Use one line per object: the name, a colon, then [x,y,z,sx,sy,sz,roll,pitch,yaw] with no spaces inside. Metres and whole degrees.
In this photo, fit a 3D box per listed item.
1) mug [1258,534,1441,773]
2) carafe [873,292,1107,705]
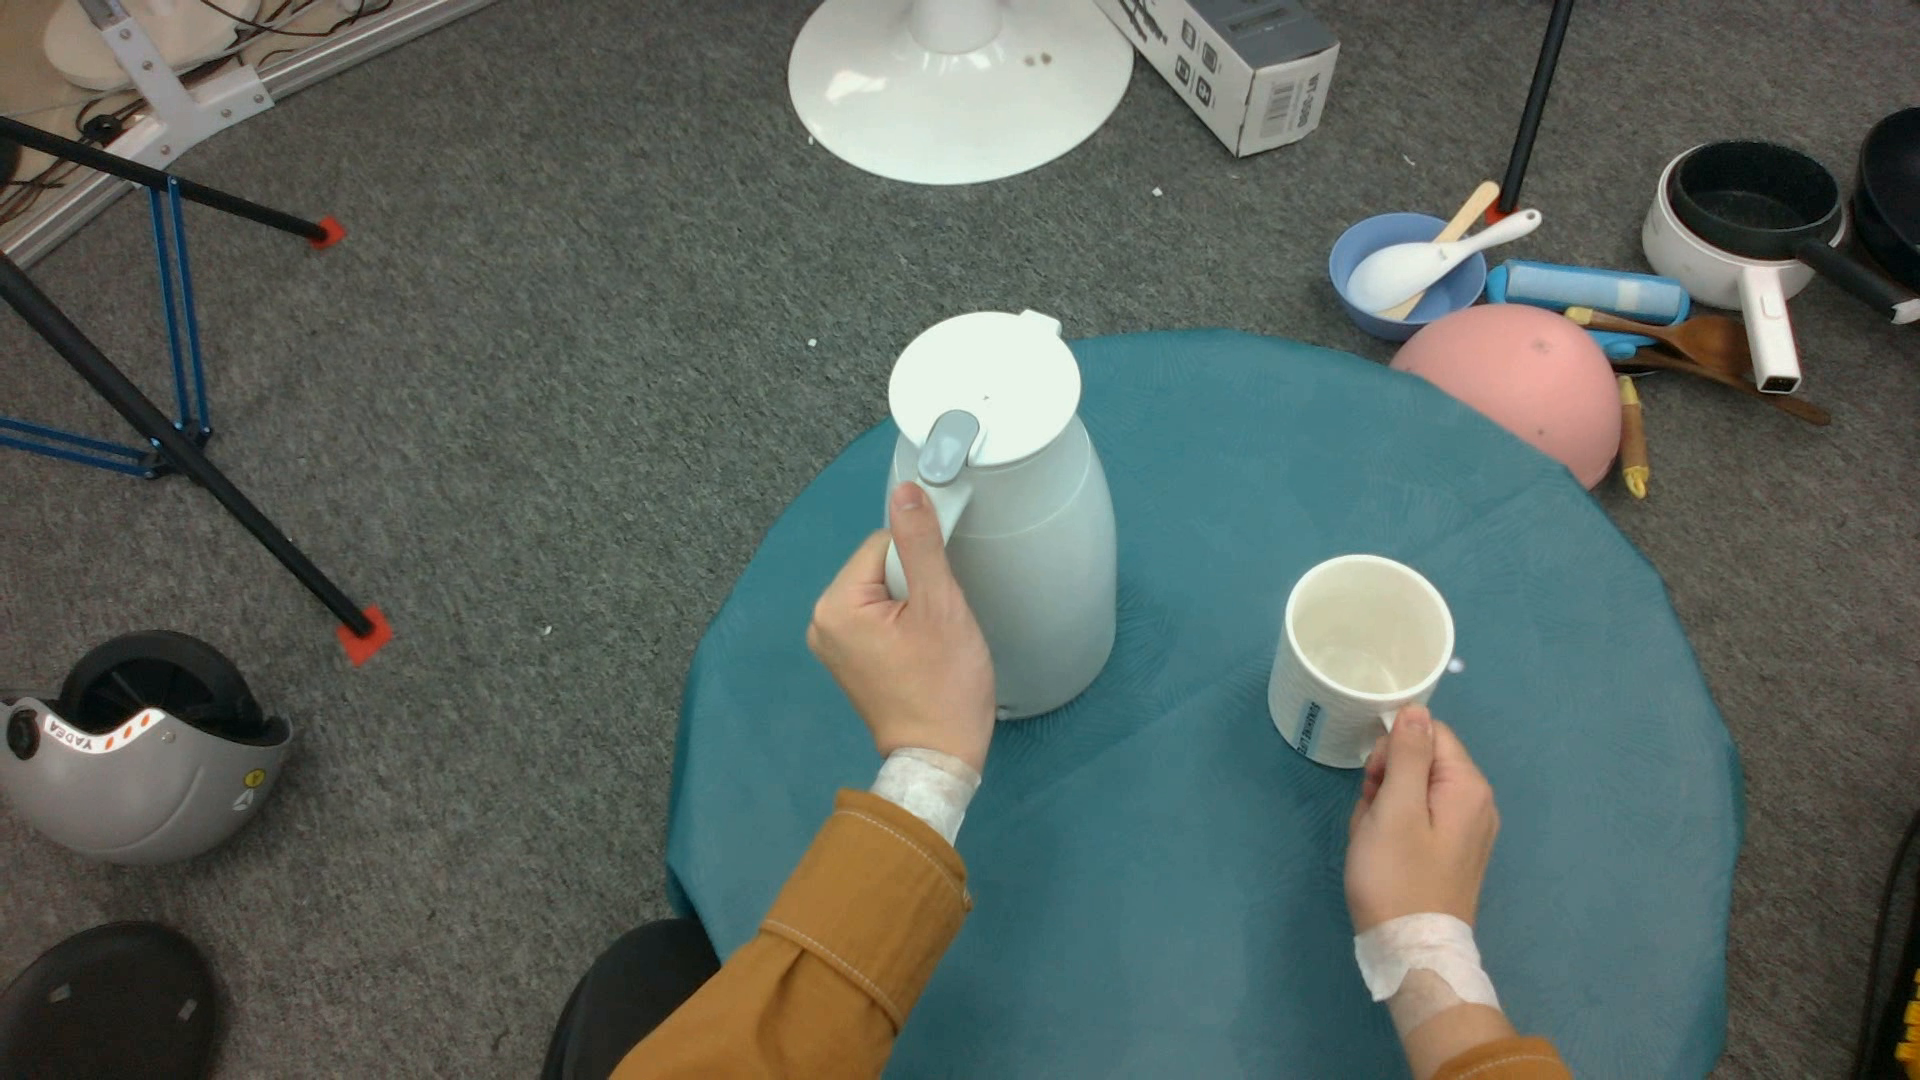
mug: [0.217,0.072,0.758,0.085,0.101,0.118,-15,59,-4]
carafe: [0.008,-0.006,0.738,0.132,0.247,0.168,21,63,16]
